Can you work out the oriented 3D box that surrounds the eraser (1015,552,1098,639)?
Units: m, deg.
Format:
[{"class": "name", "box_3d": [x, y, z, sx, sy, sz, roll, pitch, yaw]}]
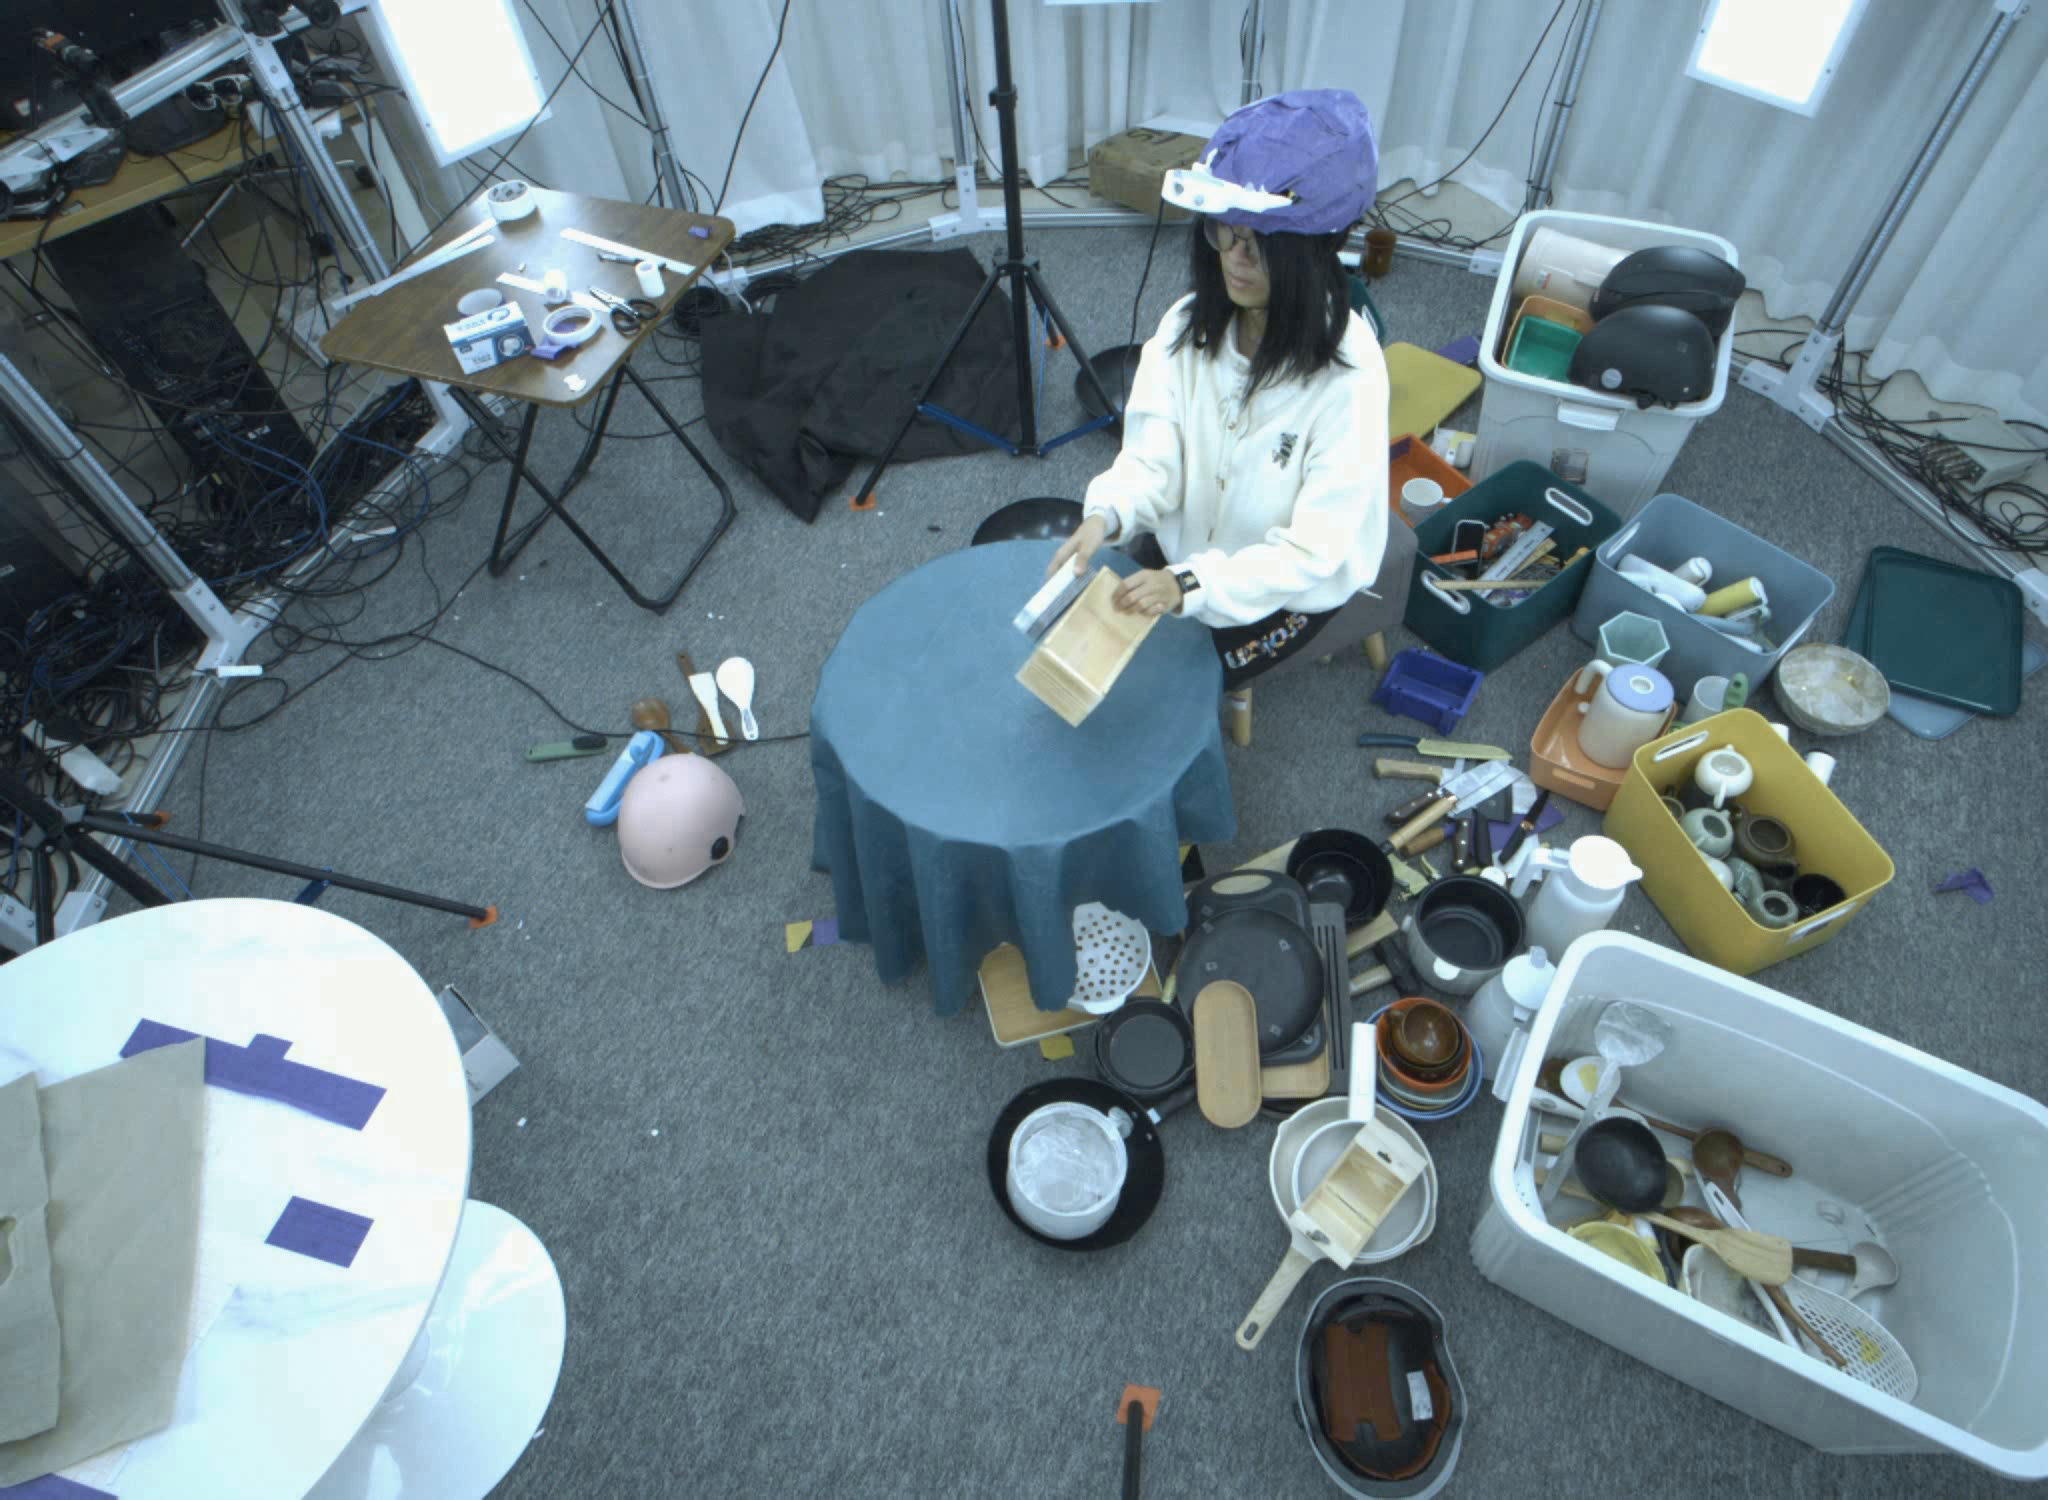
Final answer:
[{"class": "eraser", "box_3d": [0.047, -0.217, 1.727, 0.046, 0.049, 0.135, 40, 56, -1]}]

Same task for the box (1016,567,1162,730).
[{"class": "box", "box_3d": [0.091, -0.141, 1.672, 0.108, 0.079, 0.212, 39, 46, -6]}]
